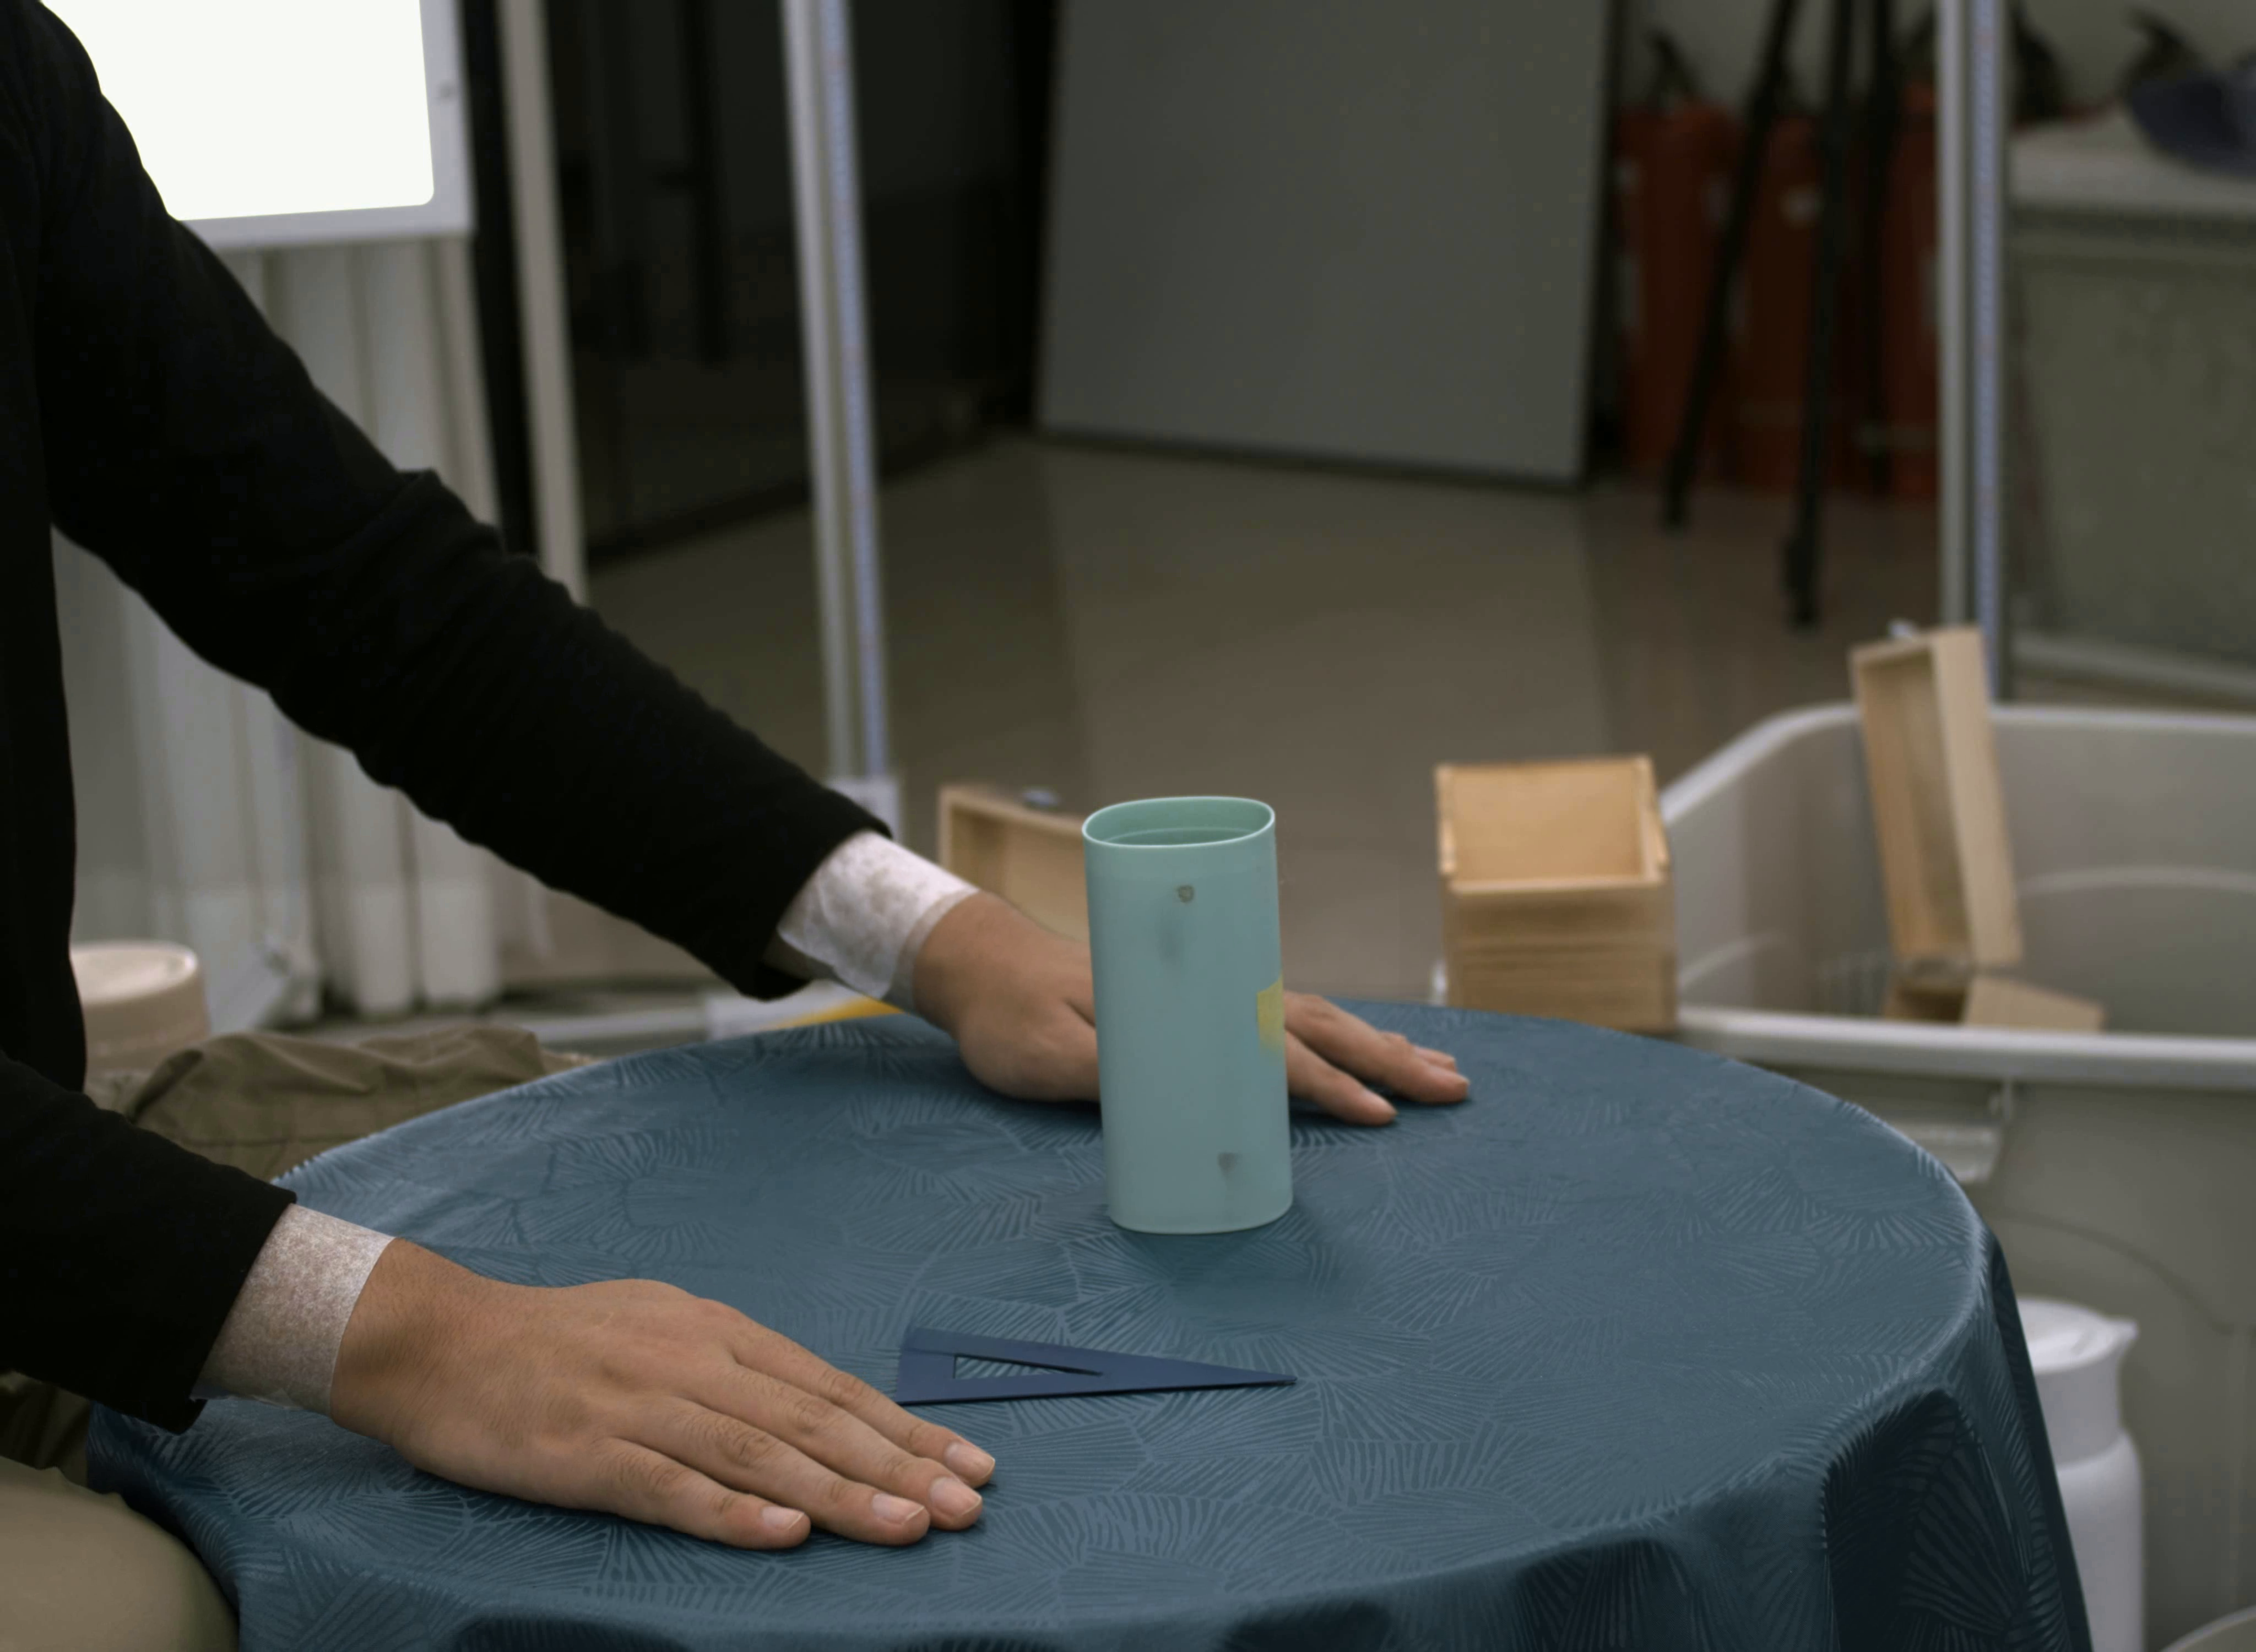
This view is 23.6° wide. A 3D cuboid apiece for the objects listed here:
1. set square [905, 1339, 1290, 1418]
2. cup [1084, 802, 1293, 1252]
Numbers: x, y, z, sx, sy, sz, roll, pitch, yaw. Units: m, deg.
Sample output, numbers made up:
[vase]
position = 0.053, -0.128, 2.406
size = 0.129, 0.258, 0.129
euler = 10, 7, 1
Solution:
[set square]
position = -0.019, 0.166, 1.582
size = 0.133, 0.006, 0.060
euler = 6, 16, 35
[cup]
position = 0.019, 0.064, 1.736
size = 0.066, 0.134, 0.067
euler = -3, 14, 0
